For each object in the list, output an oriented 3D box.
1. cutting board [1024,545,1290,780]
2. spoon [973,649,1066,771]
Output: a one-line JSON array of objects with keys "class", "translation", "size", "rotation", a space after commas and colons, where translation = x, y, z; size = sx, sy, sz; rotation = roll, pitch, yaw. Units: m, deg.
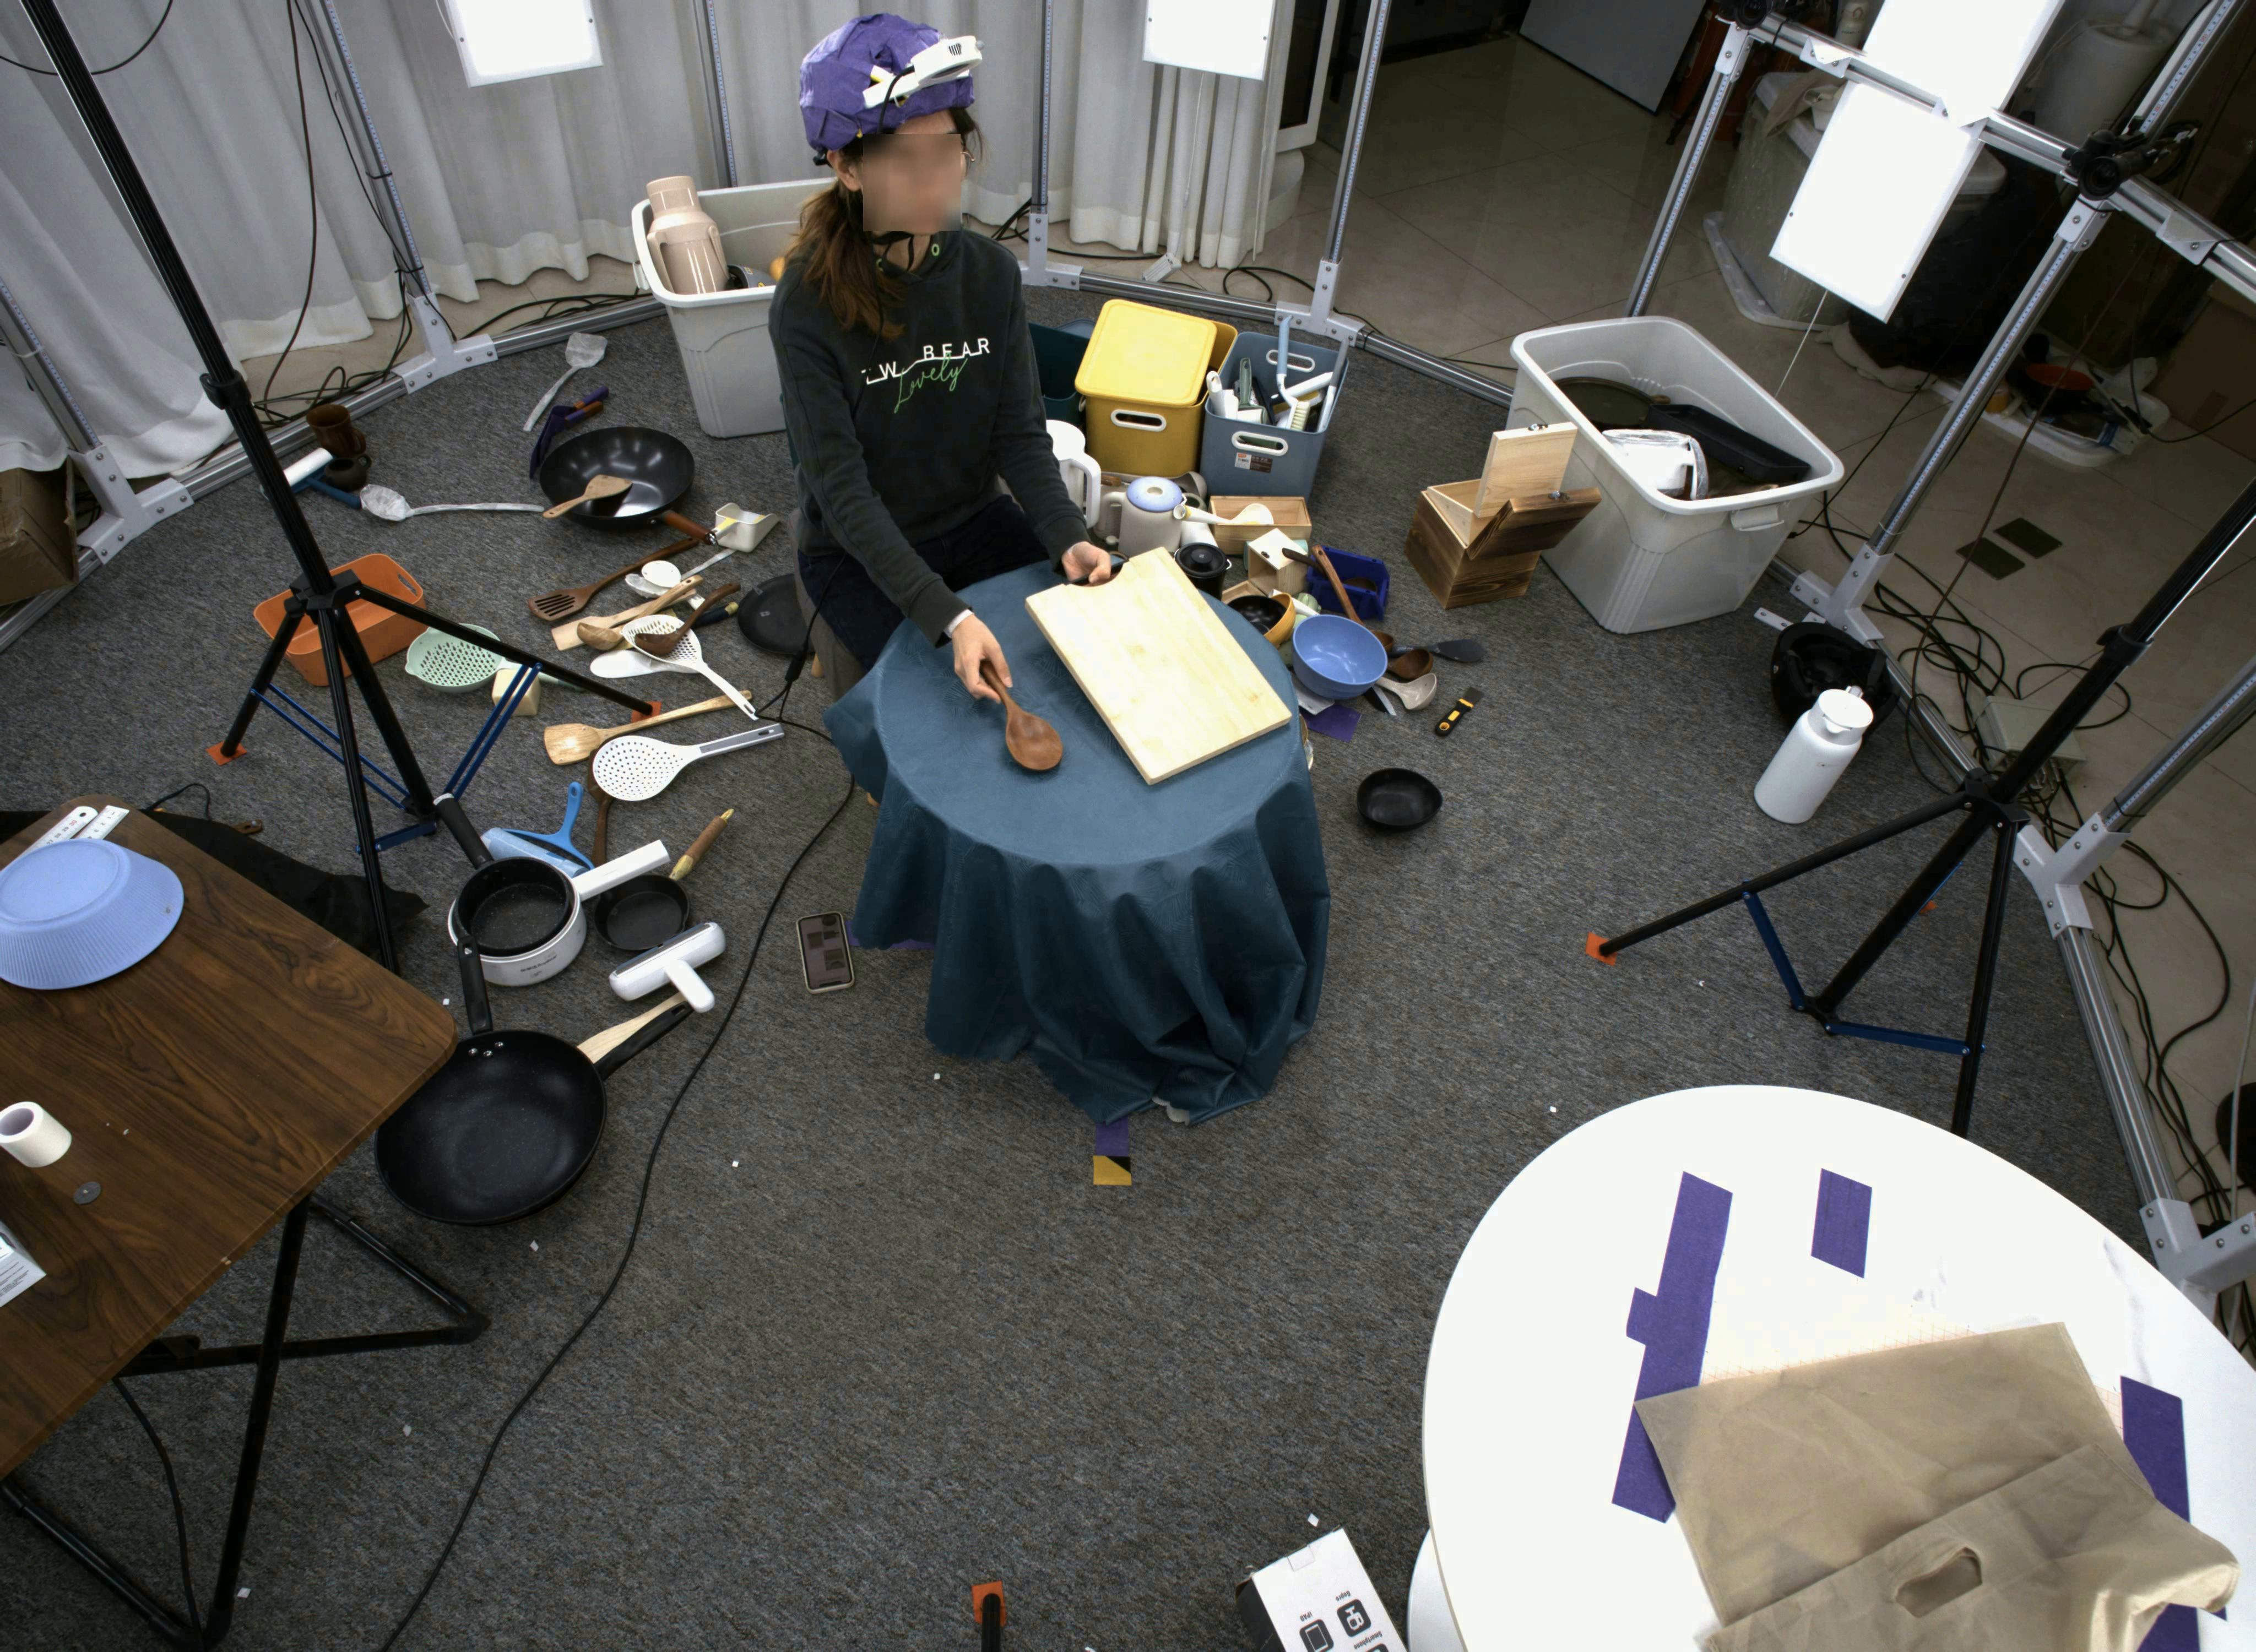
[{"class": "cutting board", "translation": [0.038, -0.241, 1.842], "size": [0.252, 0.023, 0.354], "rotation": [-25, 65, -24]}, {"class": "spoon", "translation": [-0.157, -0.161, 1.773], "size": [0.076, 0.017, 0.219], "rotation": [-23, 66, -20]}]
